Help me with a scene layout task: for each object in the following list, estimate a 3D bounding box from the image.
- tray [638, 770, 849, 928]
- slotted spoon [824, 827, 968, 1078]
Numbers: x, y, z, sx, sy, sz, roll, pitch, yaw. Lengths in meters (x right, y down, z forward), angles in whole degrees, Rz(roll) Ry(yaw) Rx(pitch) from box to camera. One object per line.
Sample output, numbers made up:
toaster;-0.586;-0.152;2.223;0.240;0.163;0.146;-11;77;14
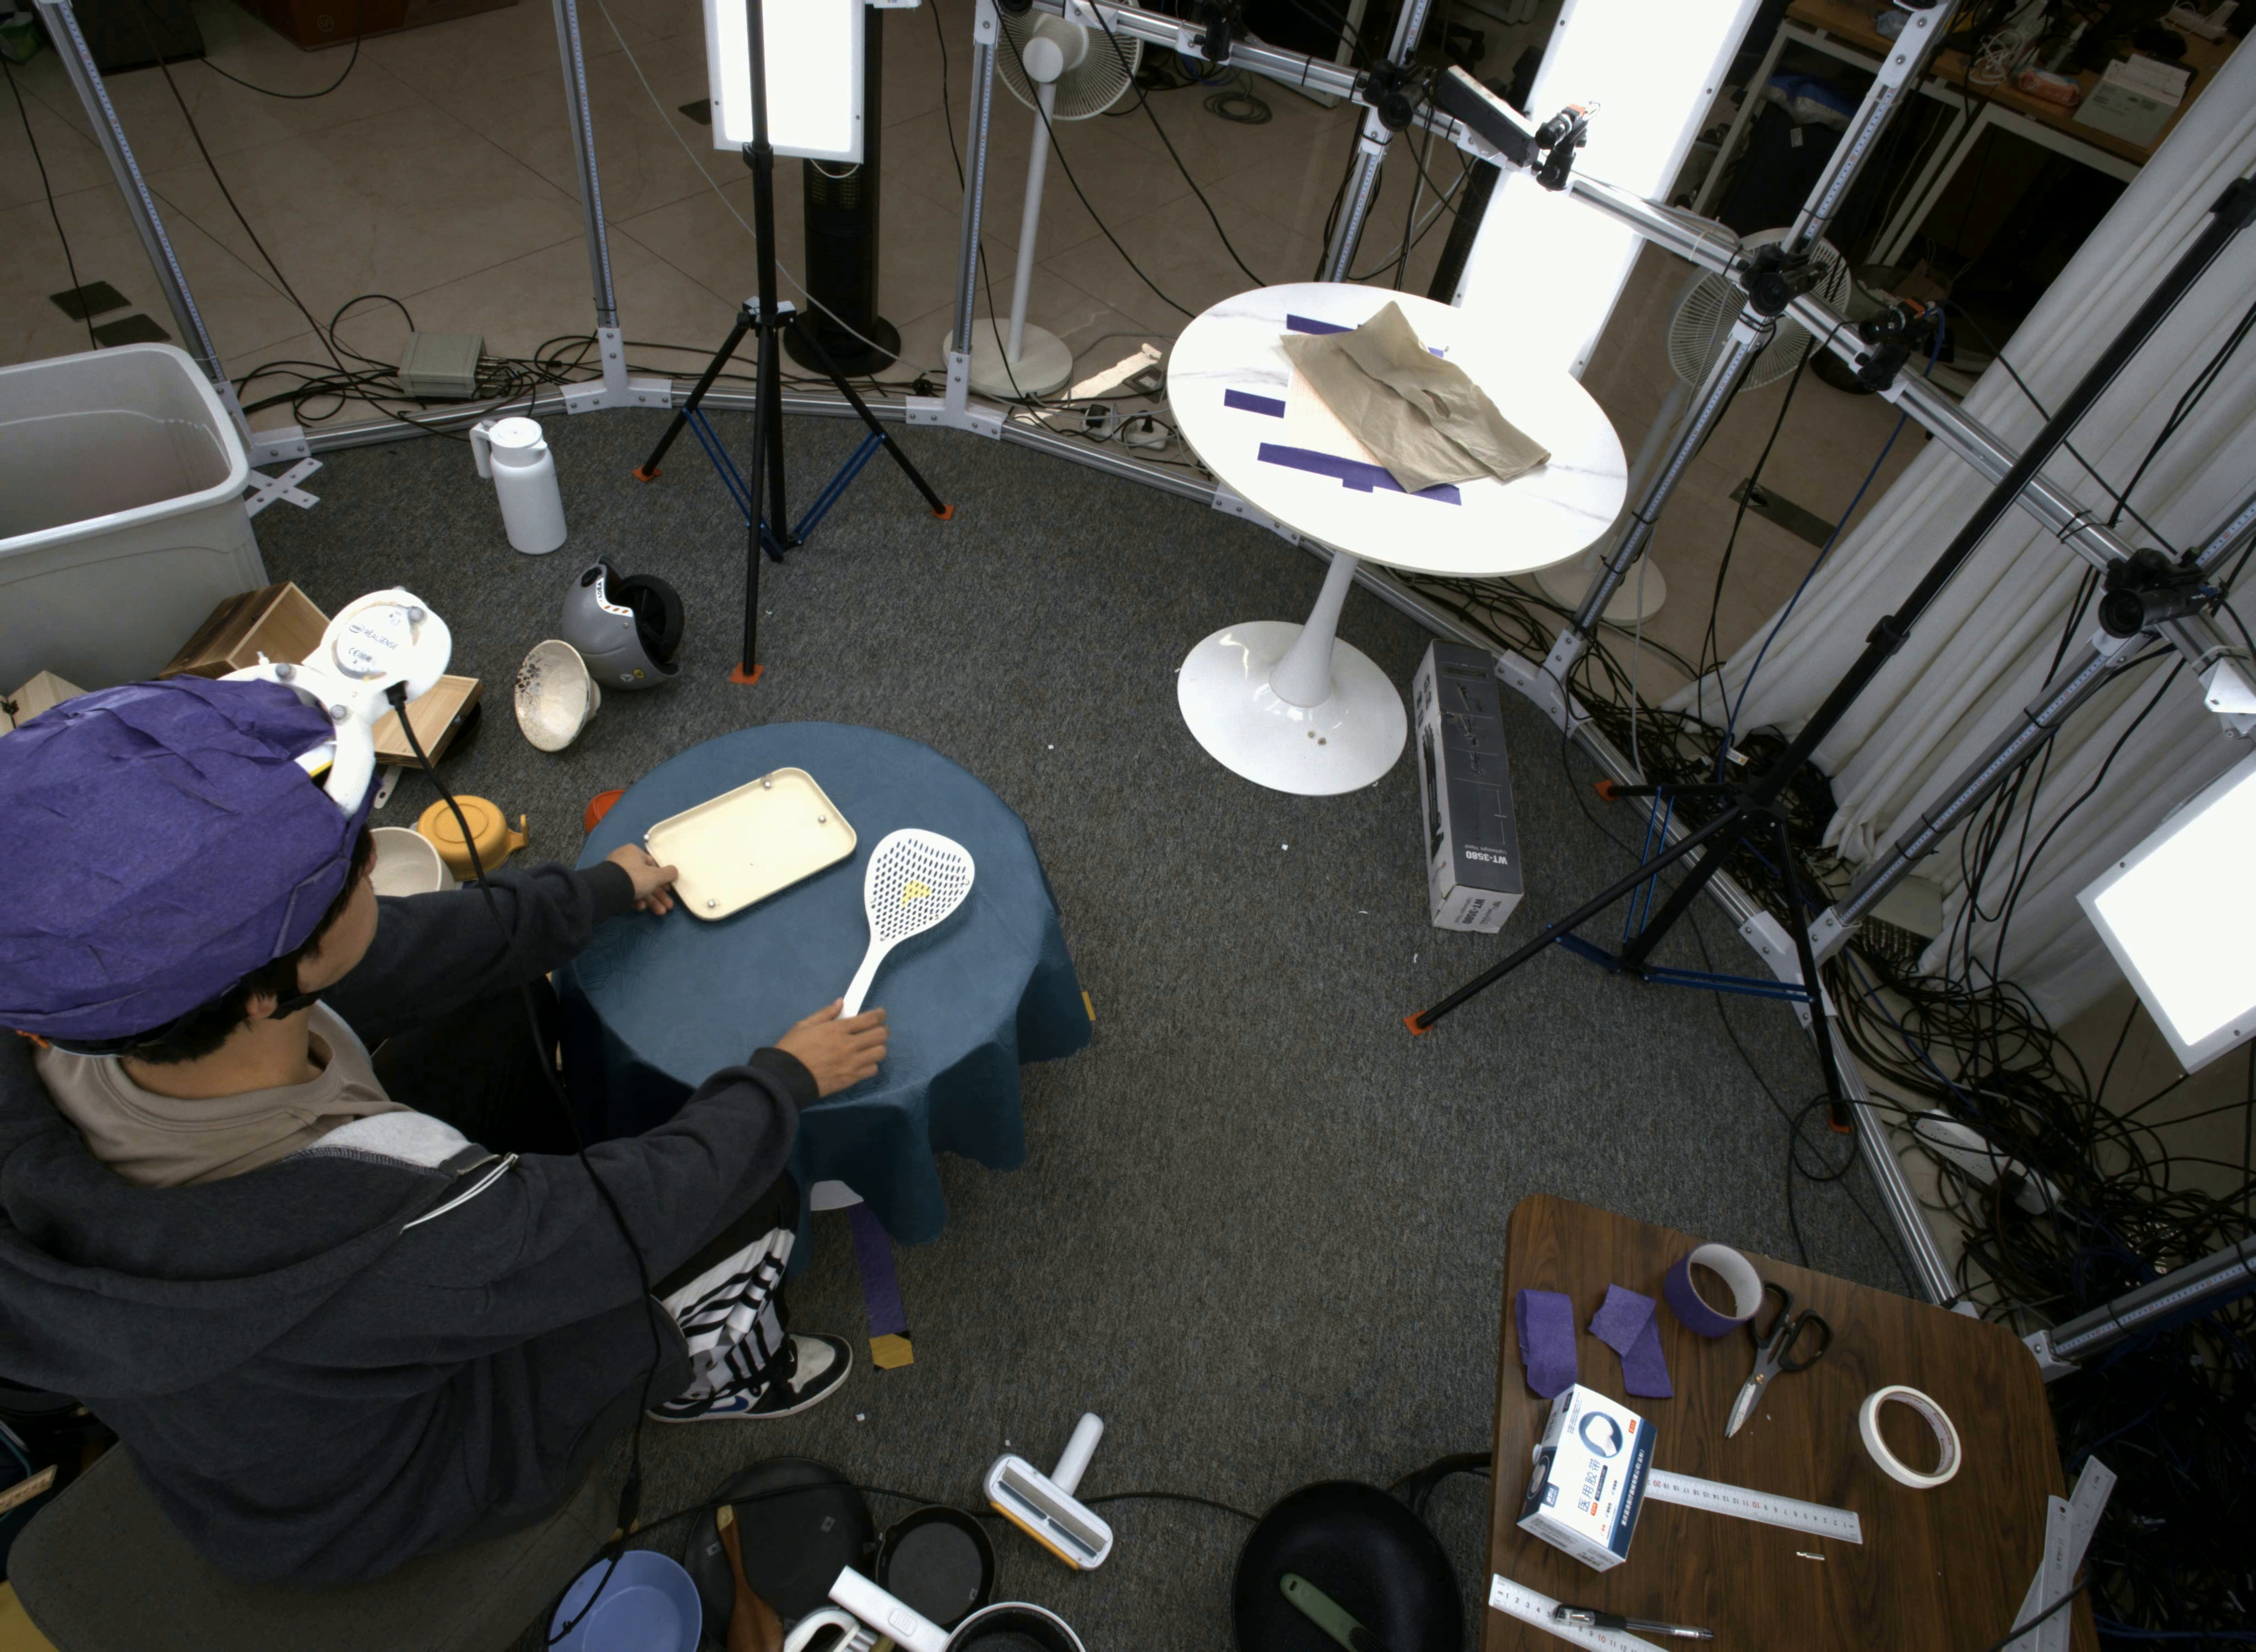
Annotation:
tray;-0.498;0.026;1.678;0.240;0.018;0.167;-30;67;-31
slotted spoon;-0.310;0.150;1.621;0.136;0.051;0.344;22;52;-2
